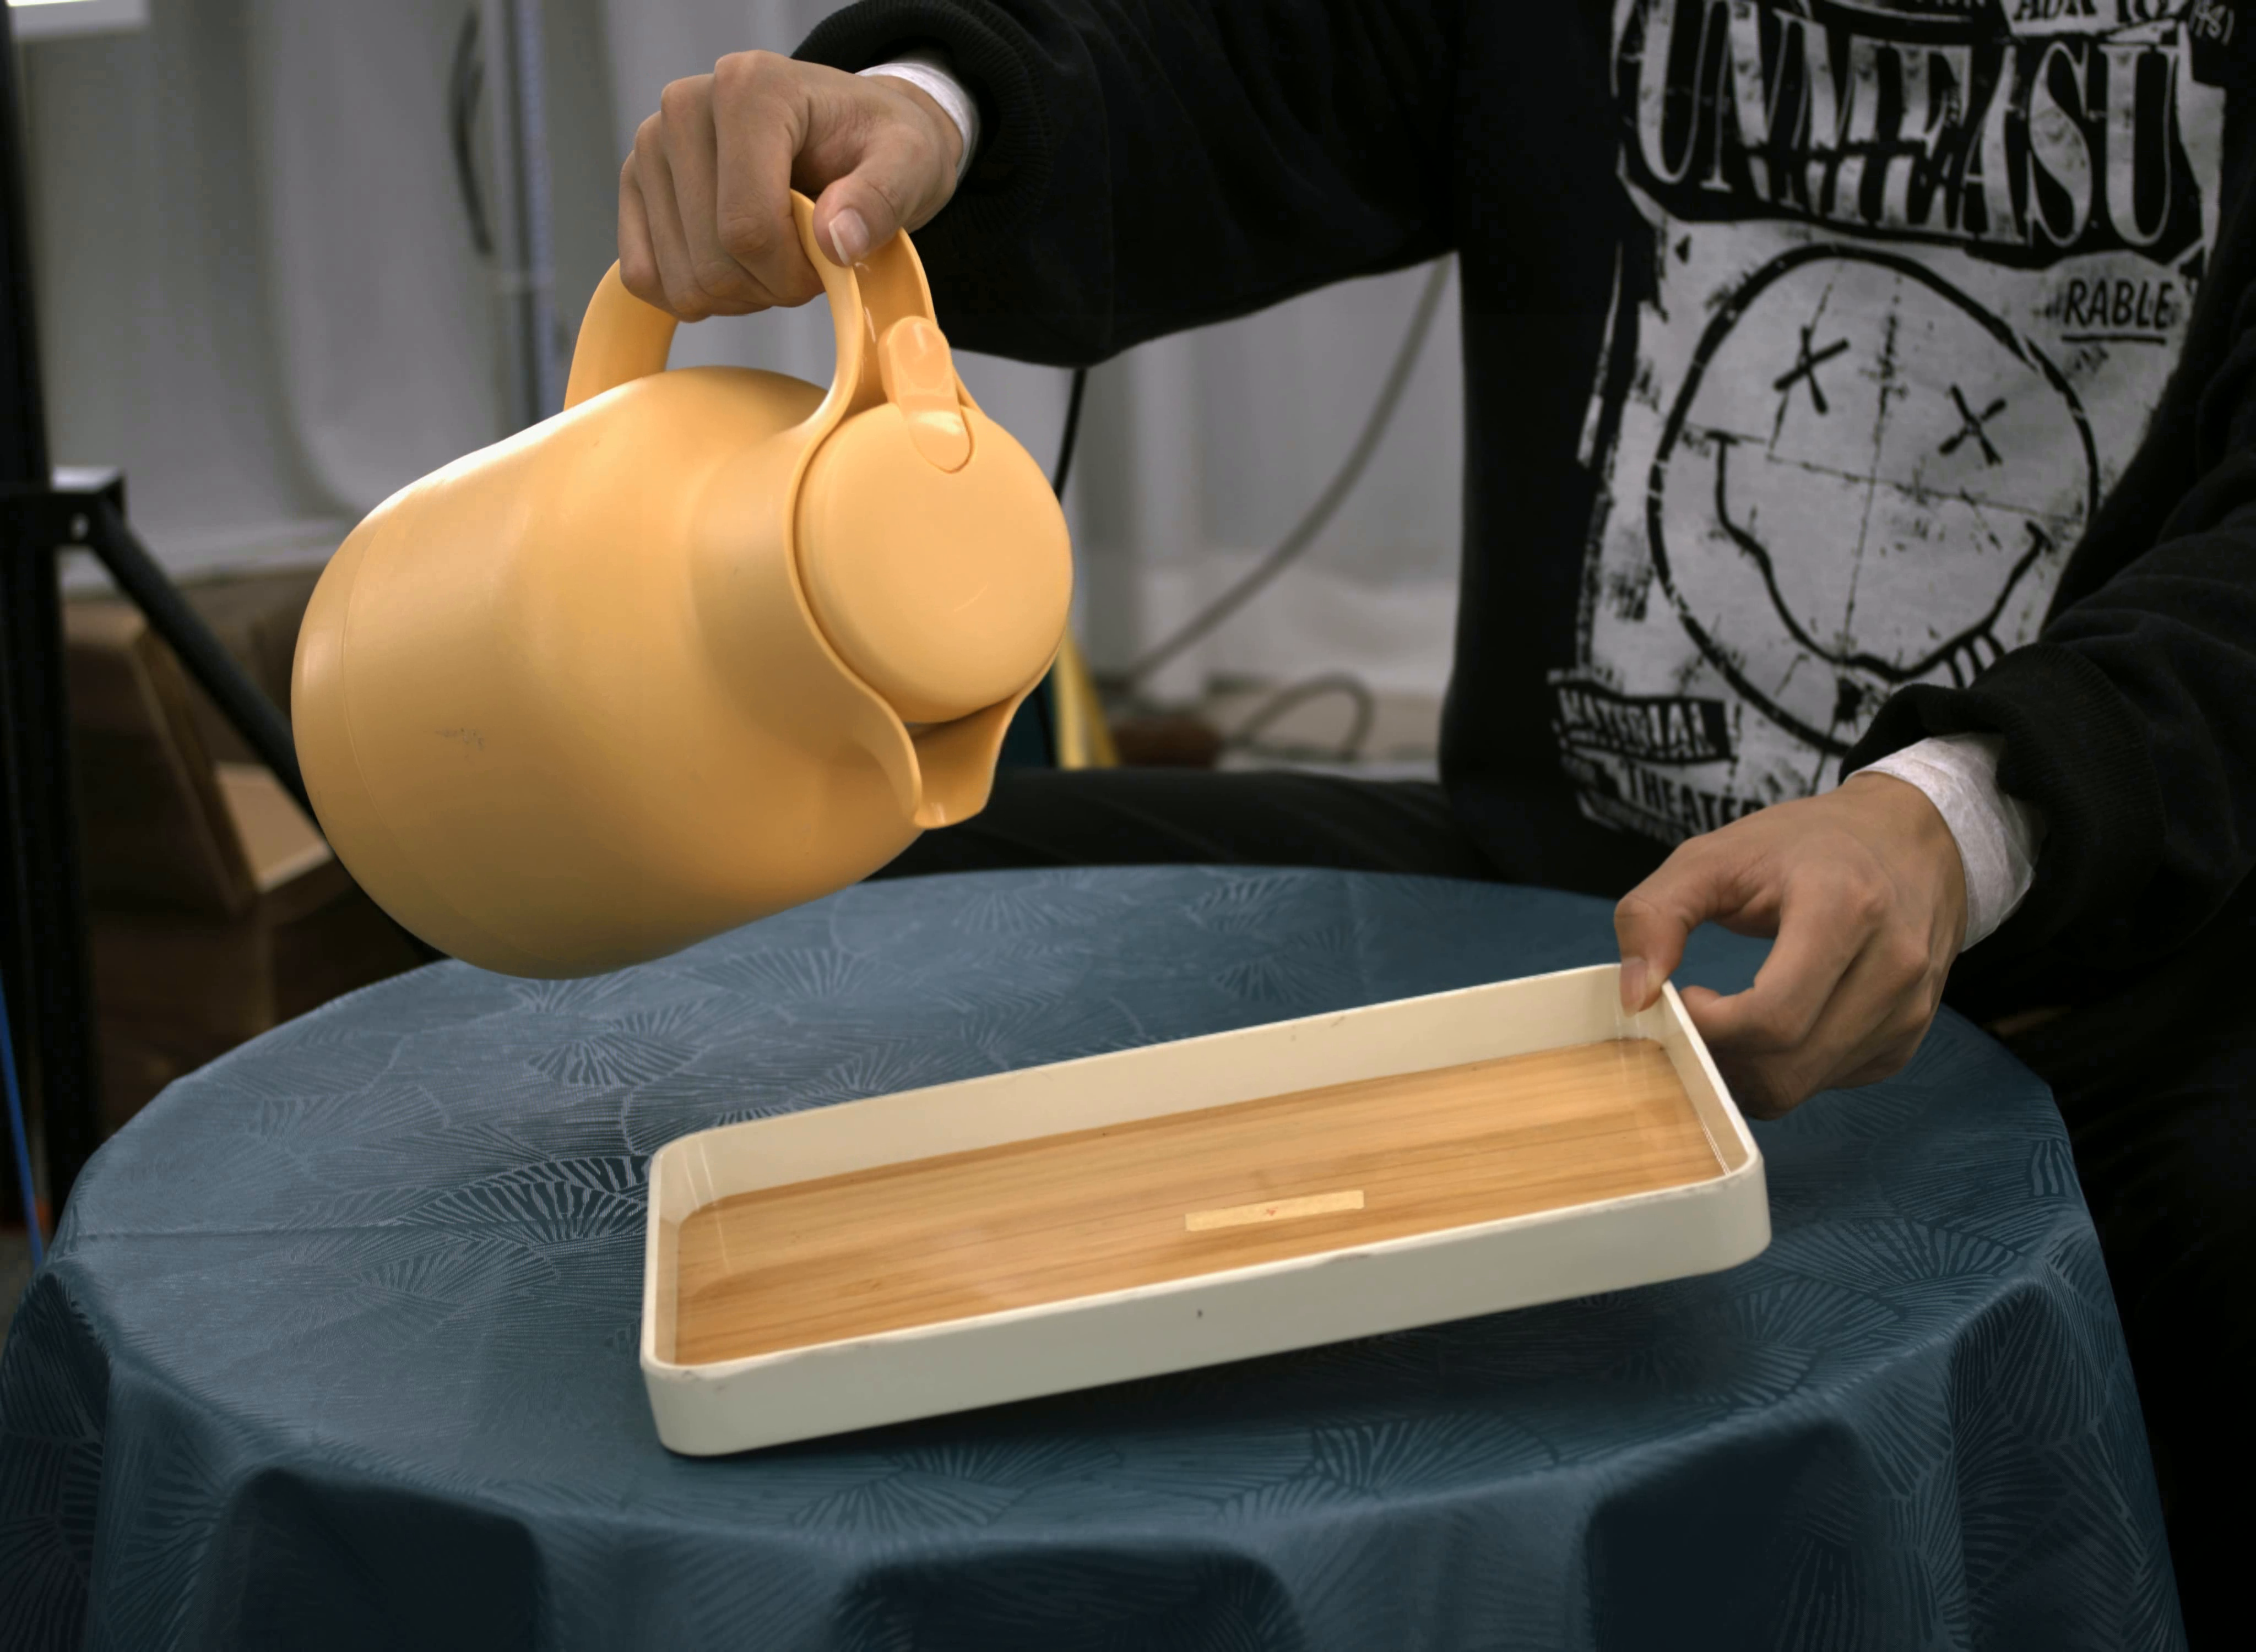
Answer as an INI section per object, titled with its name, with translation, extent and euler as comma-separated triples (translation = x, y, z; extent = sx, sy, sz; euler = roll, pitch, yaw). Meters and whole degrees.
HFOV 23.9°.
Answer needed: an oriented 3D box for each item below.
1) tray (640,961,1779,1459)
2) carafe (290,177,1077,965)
[tray]
translation = 0.017, 0.102, 1.453
extent = 0.299, 0.027, 0.193
euler = -10, 17, 1
[carafe]
translation = -0.123, -0.074, 1.562
extent = 0.159, 0.204, 0.265
euler = 4, -12, -38
